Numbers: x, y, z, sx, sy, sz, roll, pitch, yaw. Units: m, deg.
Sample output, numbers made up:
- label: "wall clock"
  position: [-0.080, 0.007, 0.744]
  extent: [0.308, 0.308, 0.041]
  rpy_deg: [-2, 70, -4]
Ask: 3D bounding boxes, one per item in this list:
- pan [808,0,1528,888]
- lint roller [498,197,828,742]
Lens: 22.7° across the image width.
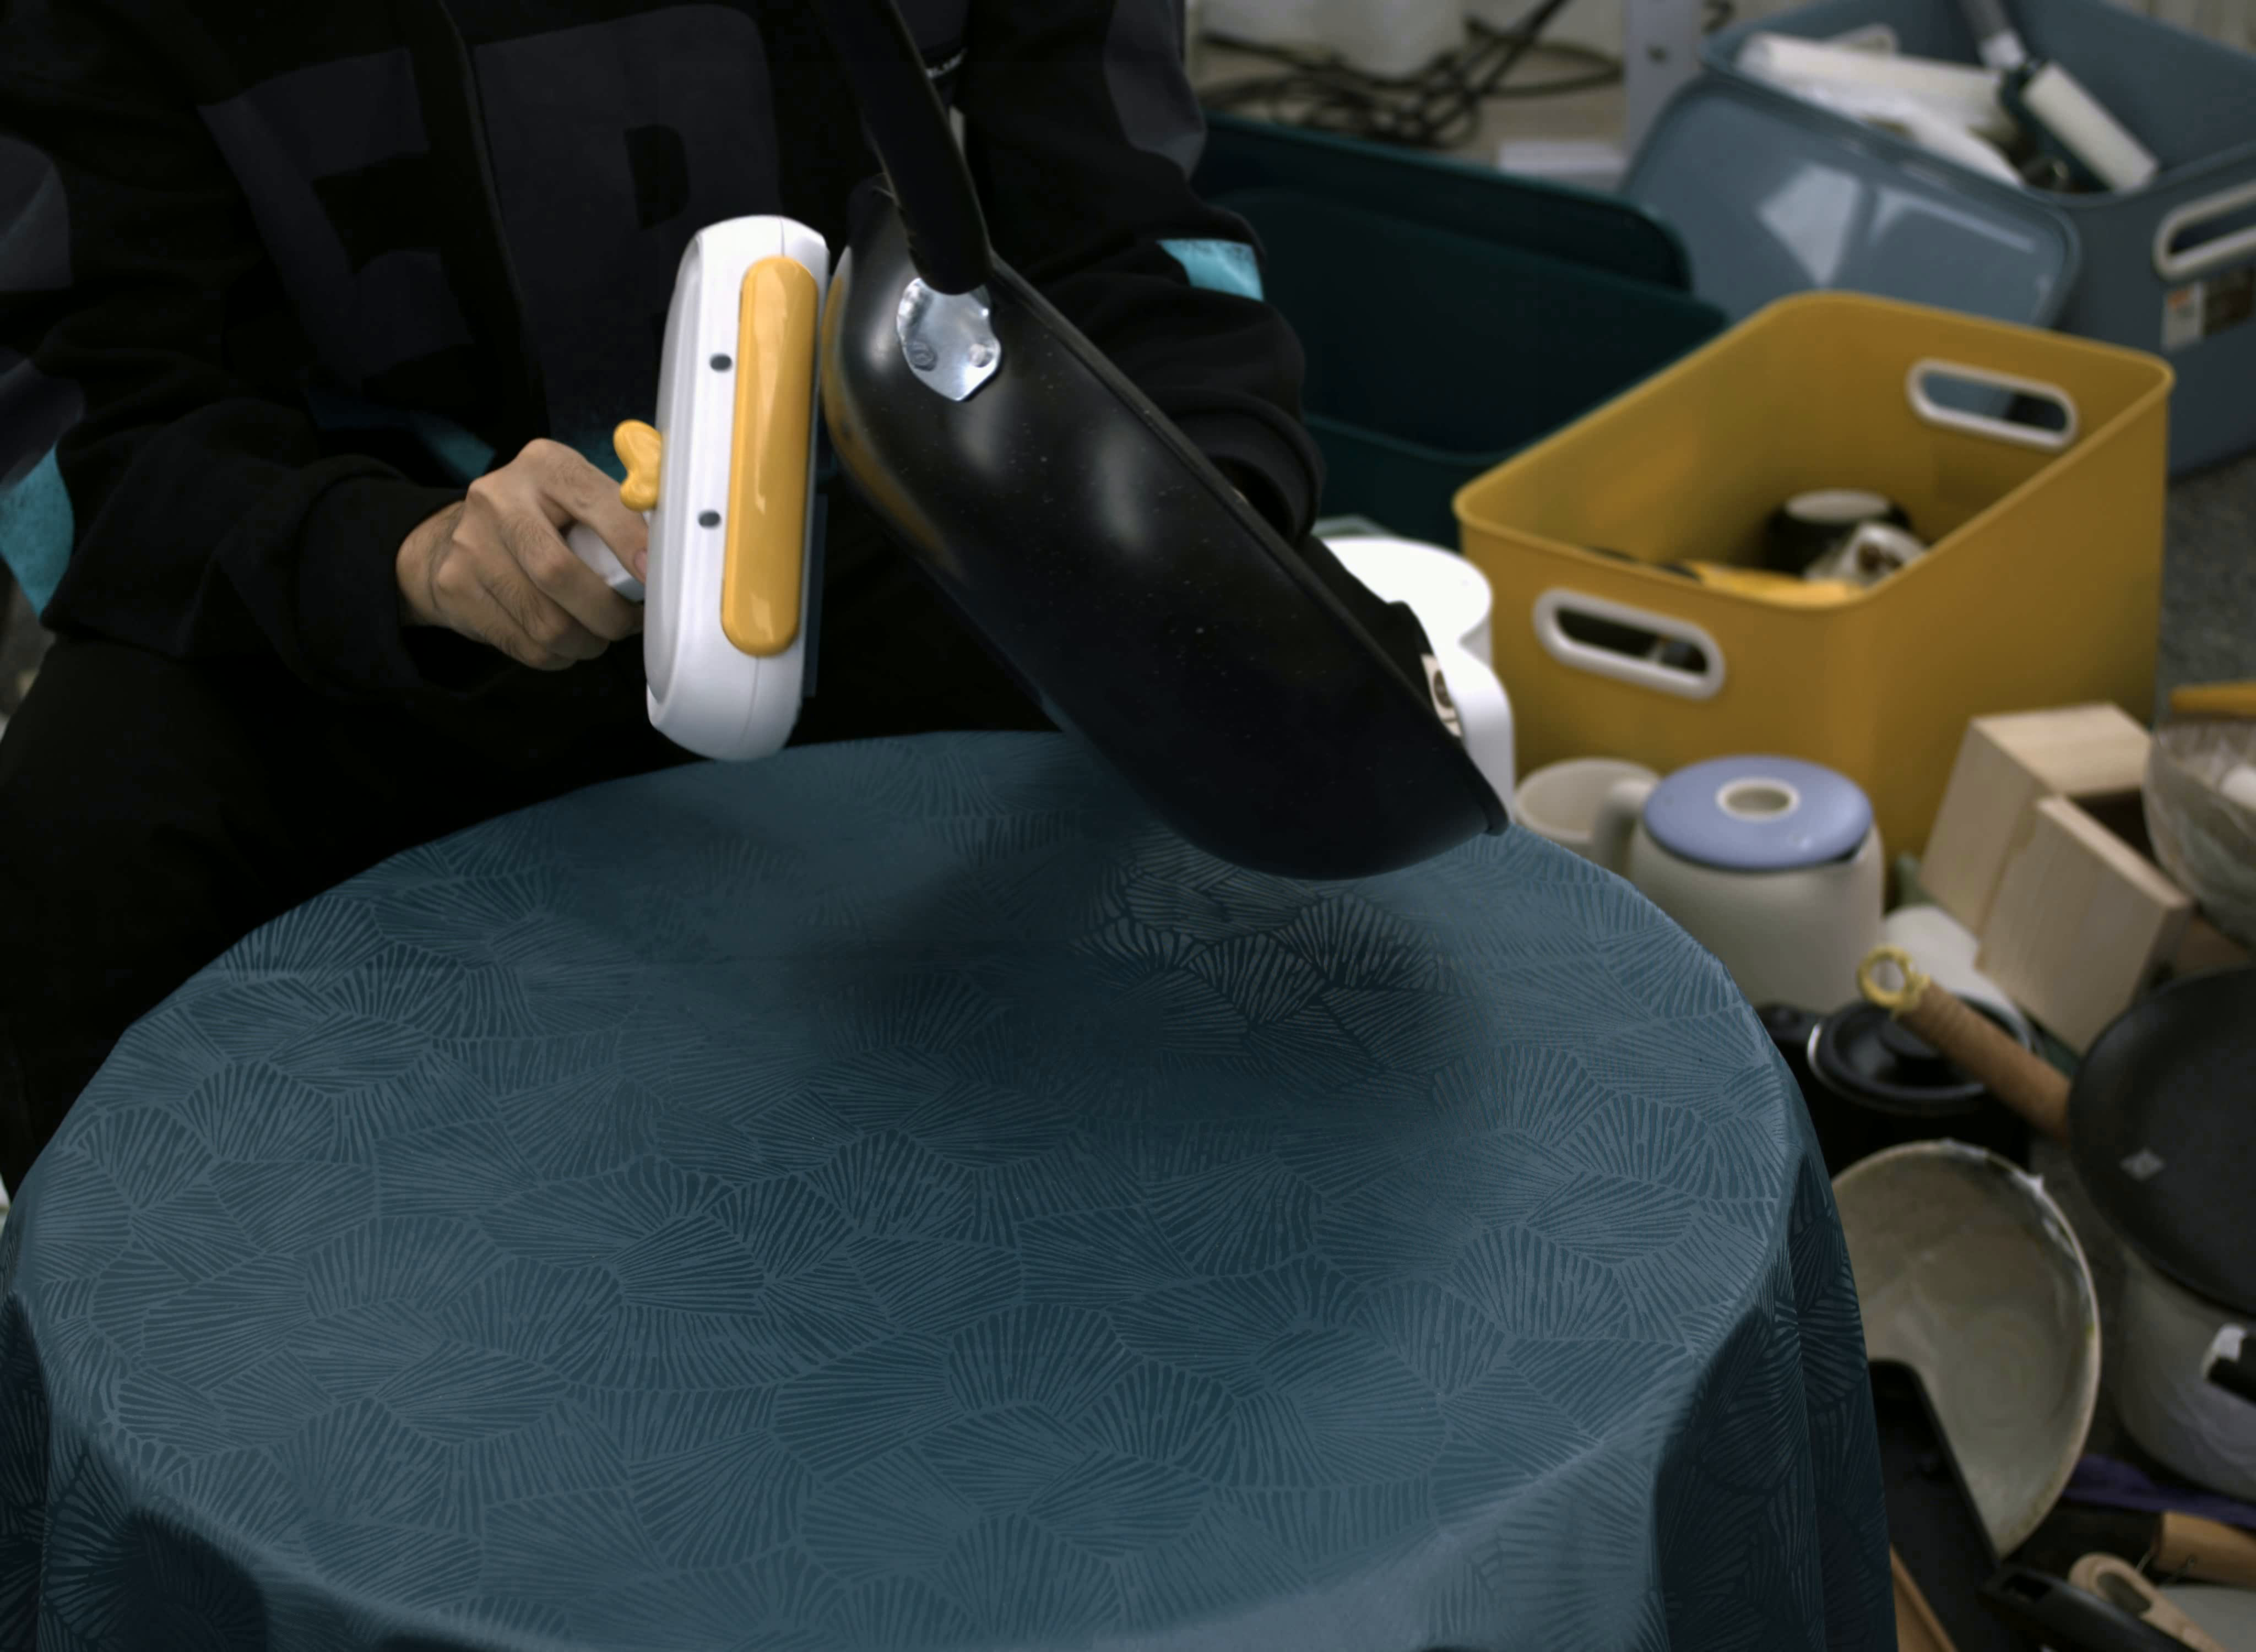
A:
- label: "pan"
  position: [-0.031, -0.126, 1.852]
  extent: [0.112, 0.472, 0.312]
  rpy_deg: [-46, 51, -3]
- label: "lint roller"
  position: [-0.164, -0.104, 1.984]
  extent: [0.074, 0.196, 0.189]
  rpy_deg: [7, -23, -25]
